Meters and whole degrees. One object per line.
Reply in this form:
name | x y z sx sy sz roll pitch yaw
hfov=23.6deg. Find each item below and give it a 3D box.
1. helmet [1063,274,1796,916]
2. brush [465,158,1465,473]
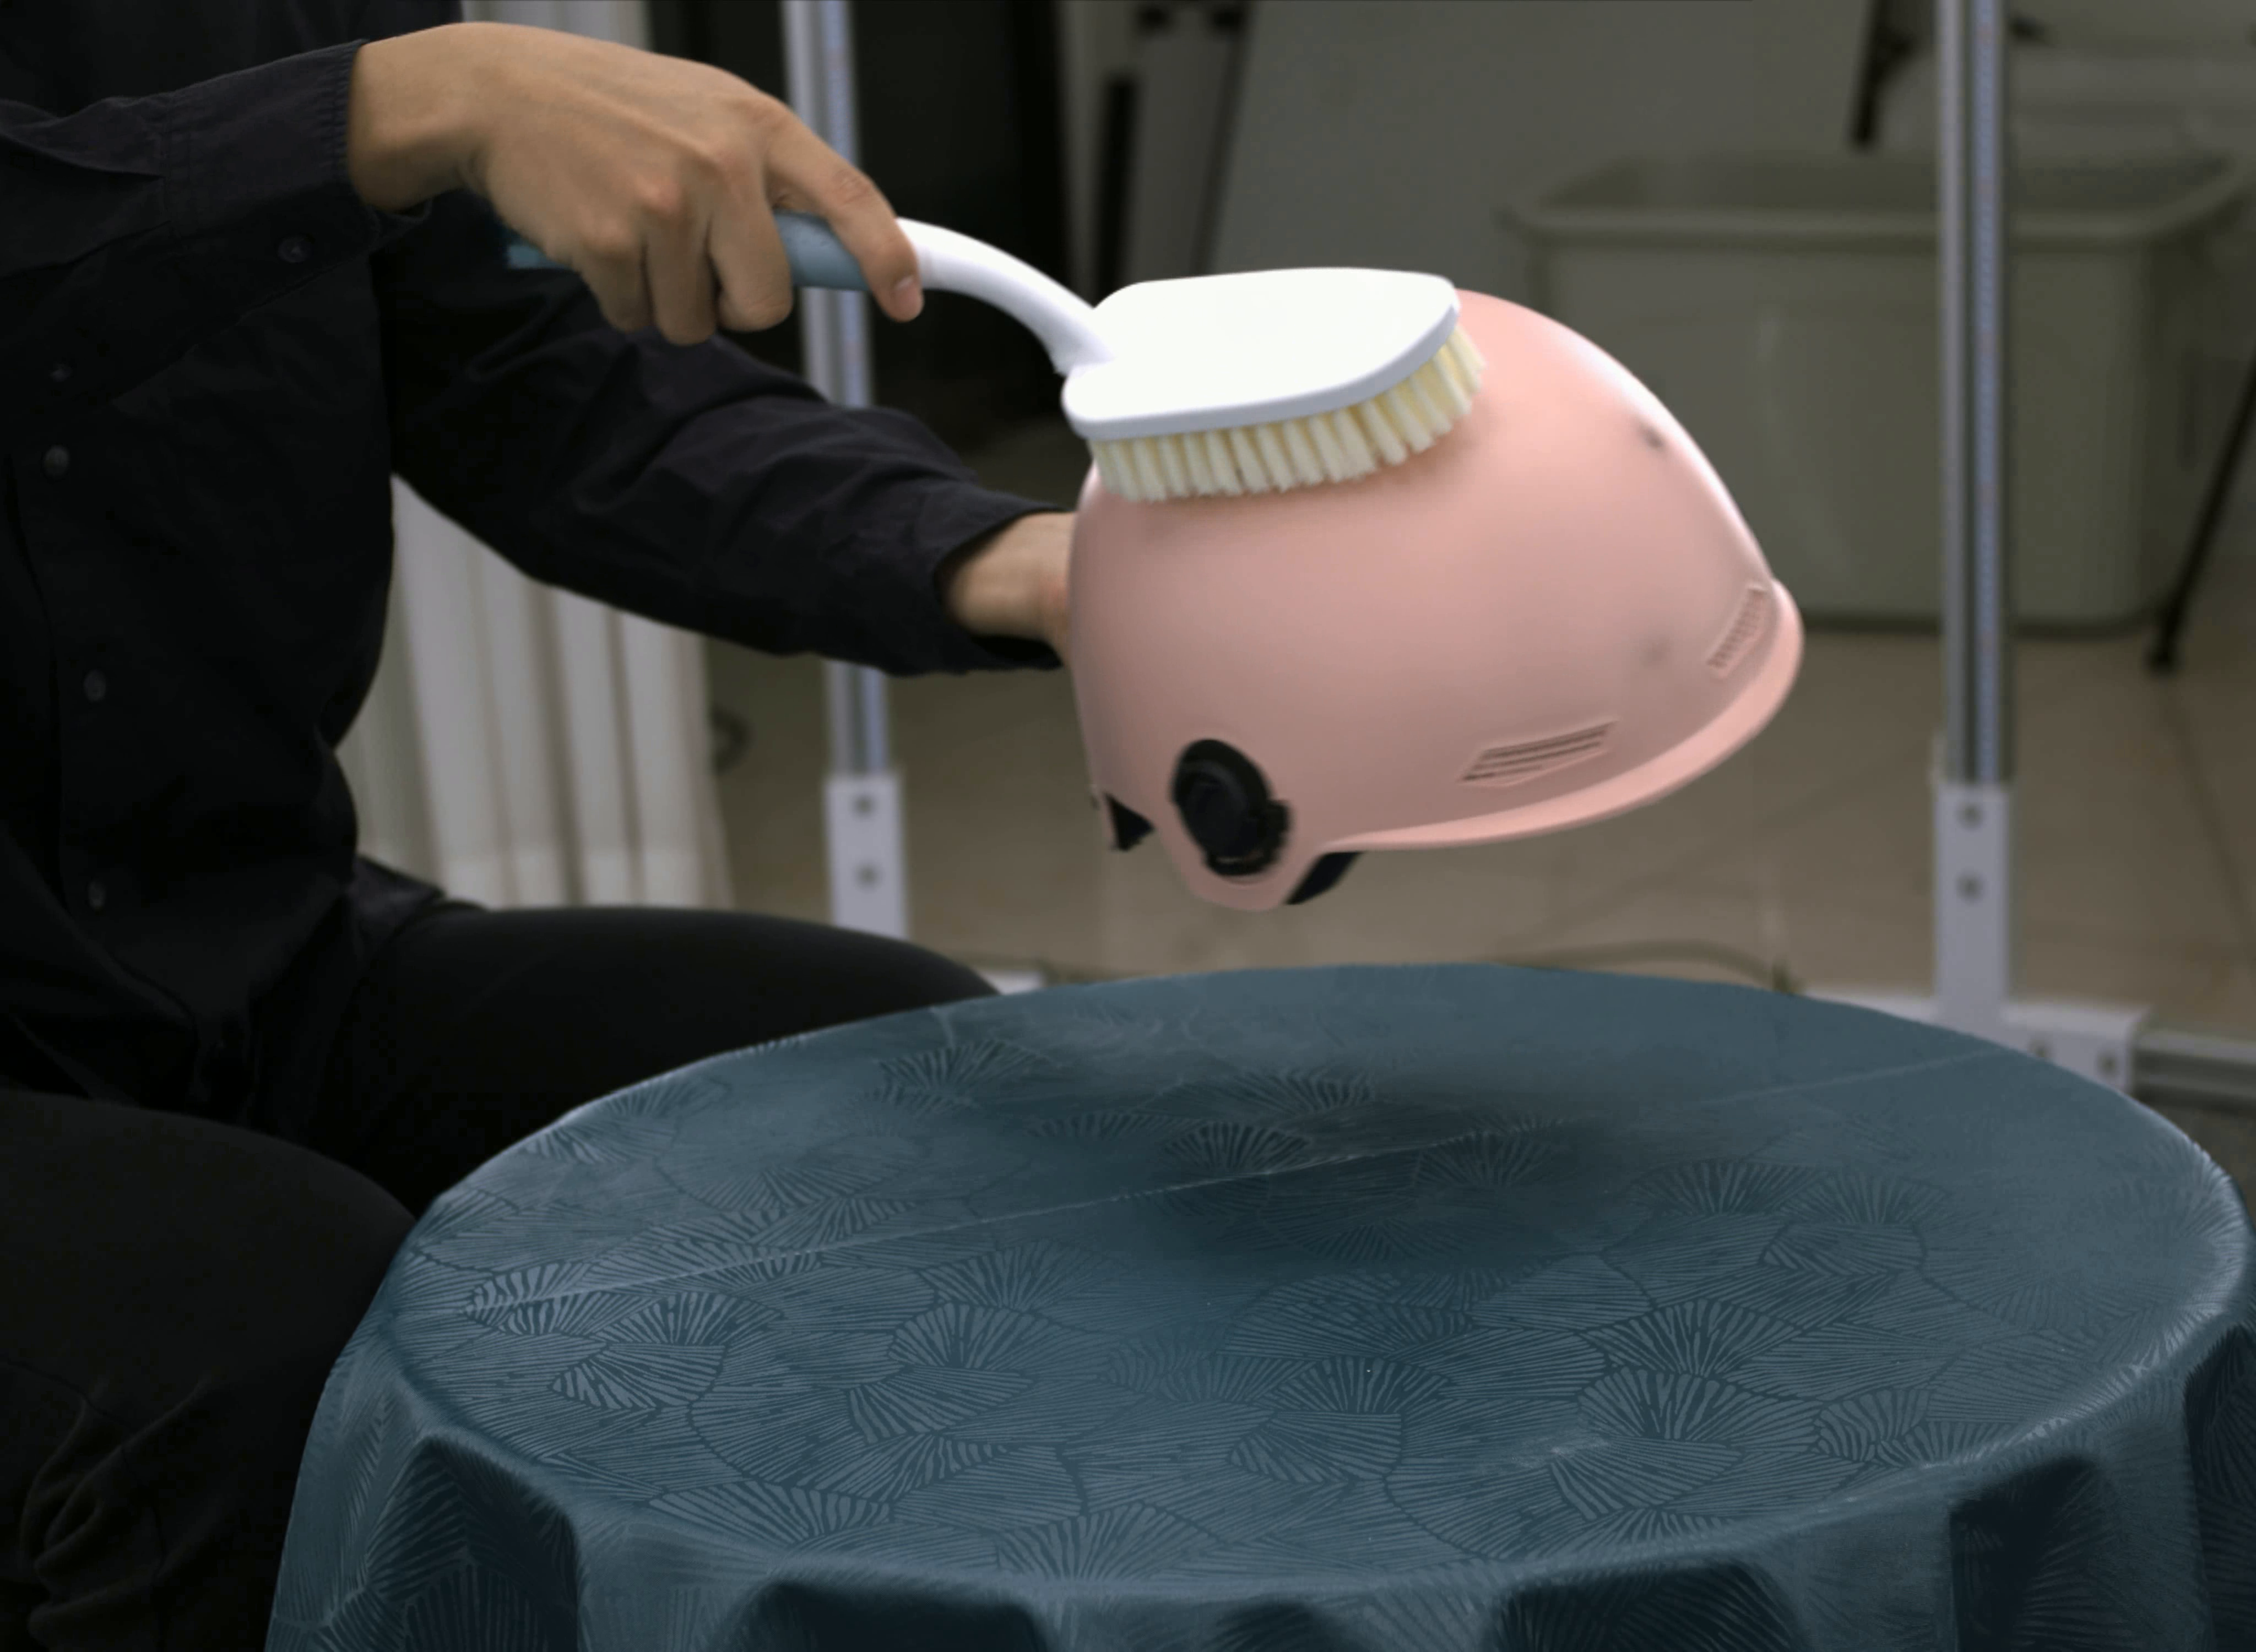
helmet | 0.084 -0.091 1.755 0.230 0.159 0.269 -30 23 -26
brush | -0.051 -0.159 1.710 0.324 0.085 0.082 6 8 15
